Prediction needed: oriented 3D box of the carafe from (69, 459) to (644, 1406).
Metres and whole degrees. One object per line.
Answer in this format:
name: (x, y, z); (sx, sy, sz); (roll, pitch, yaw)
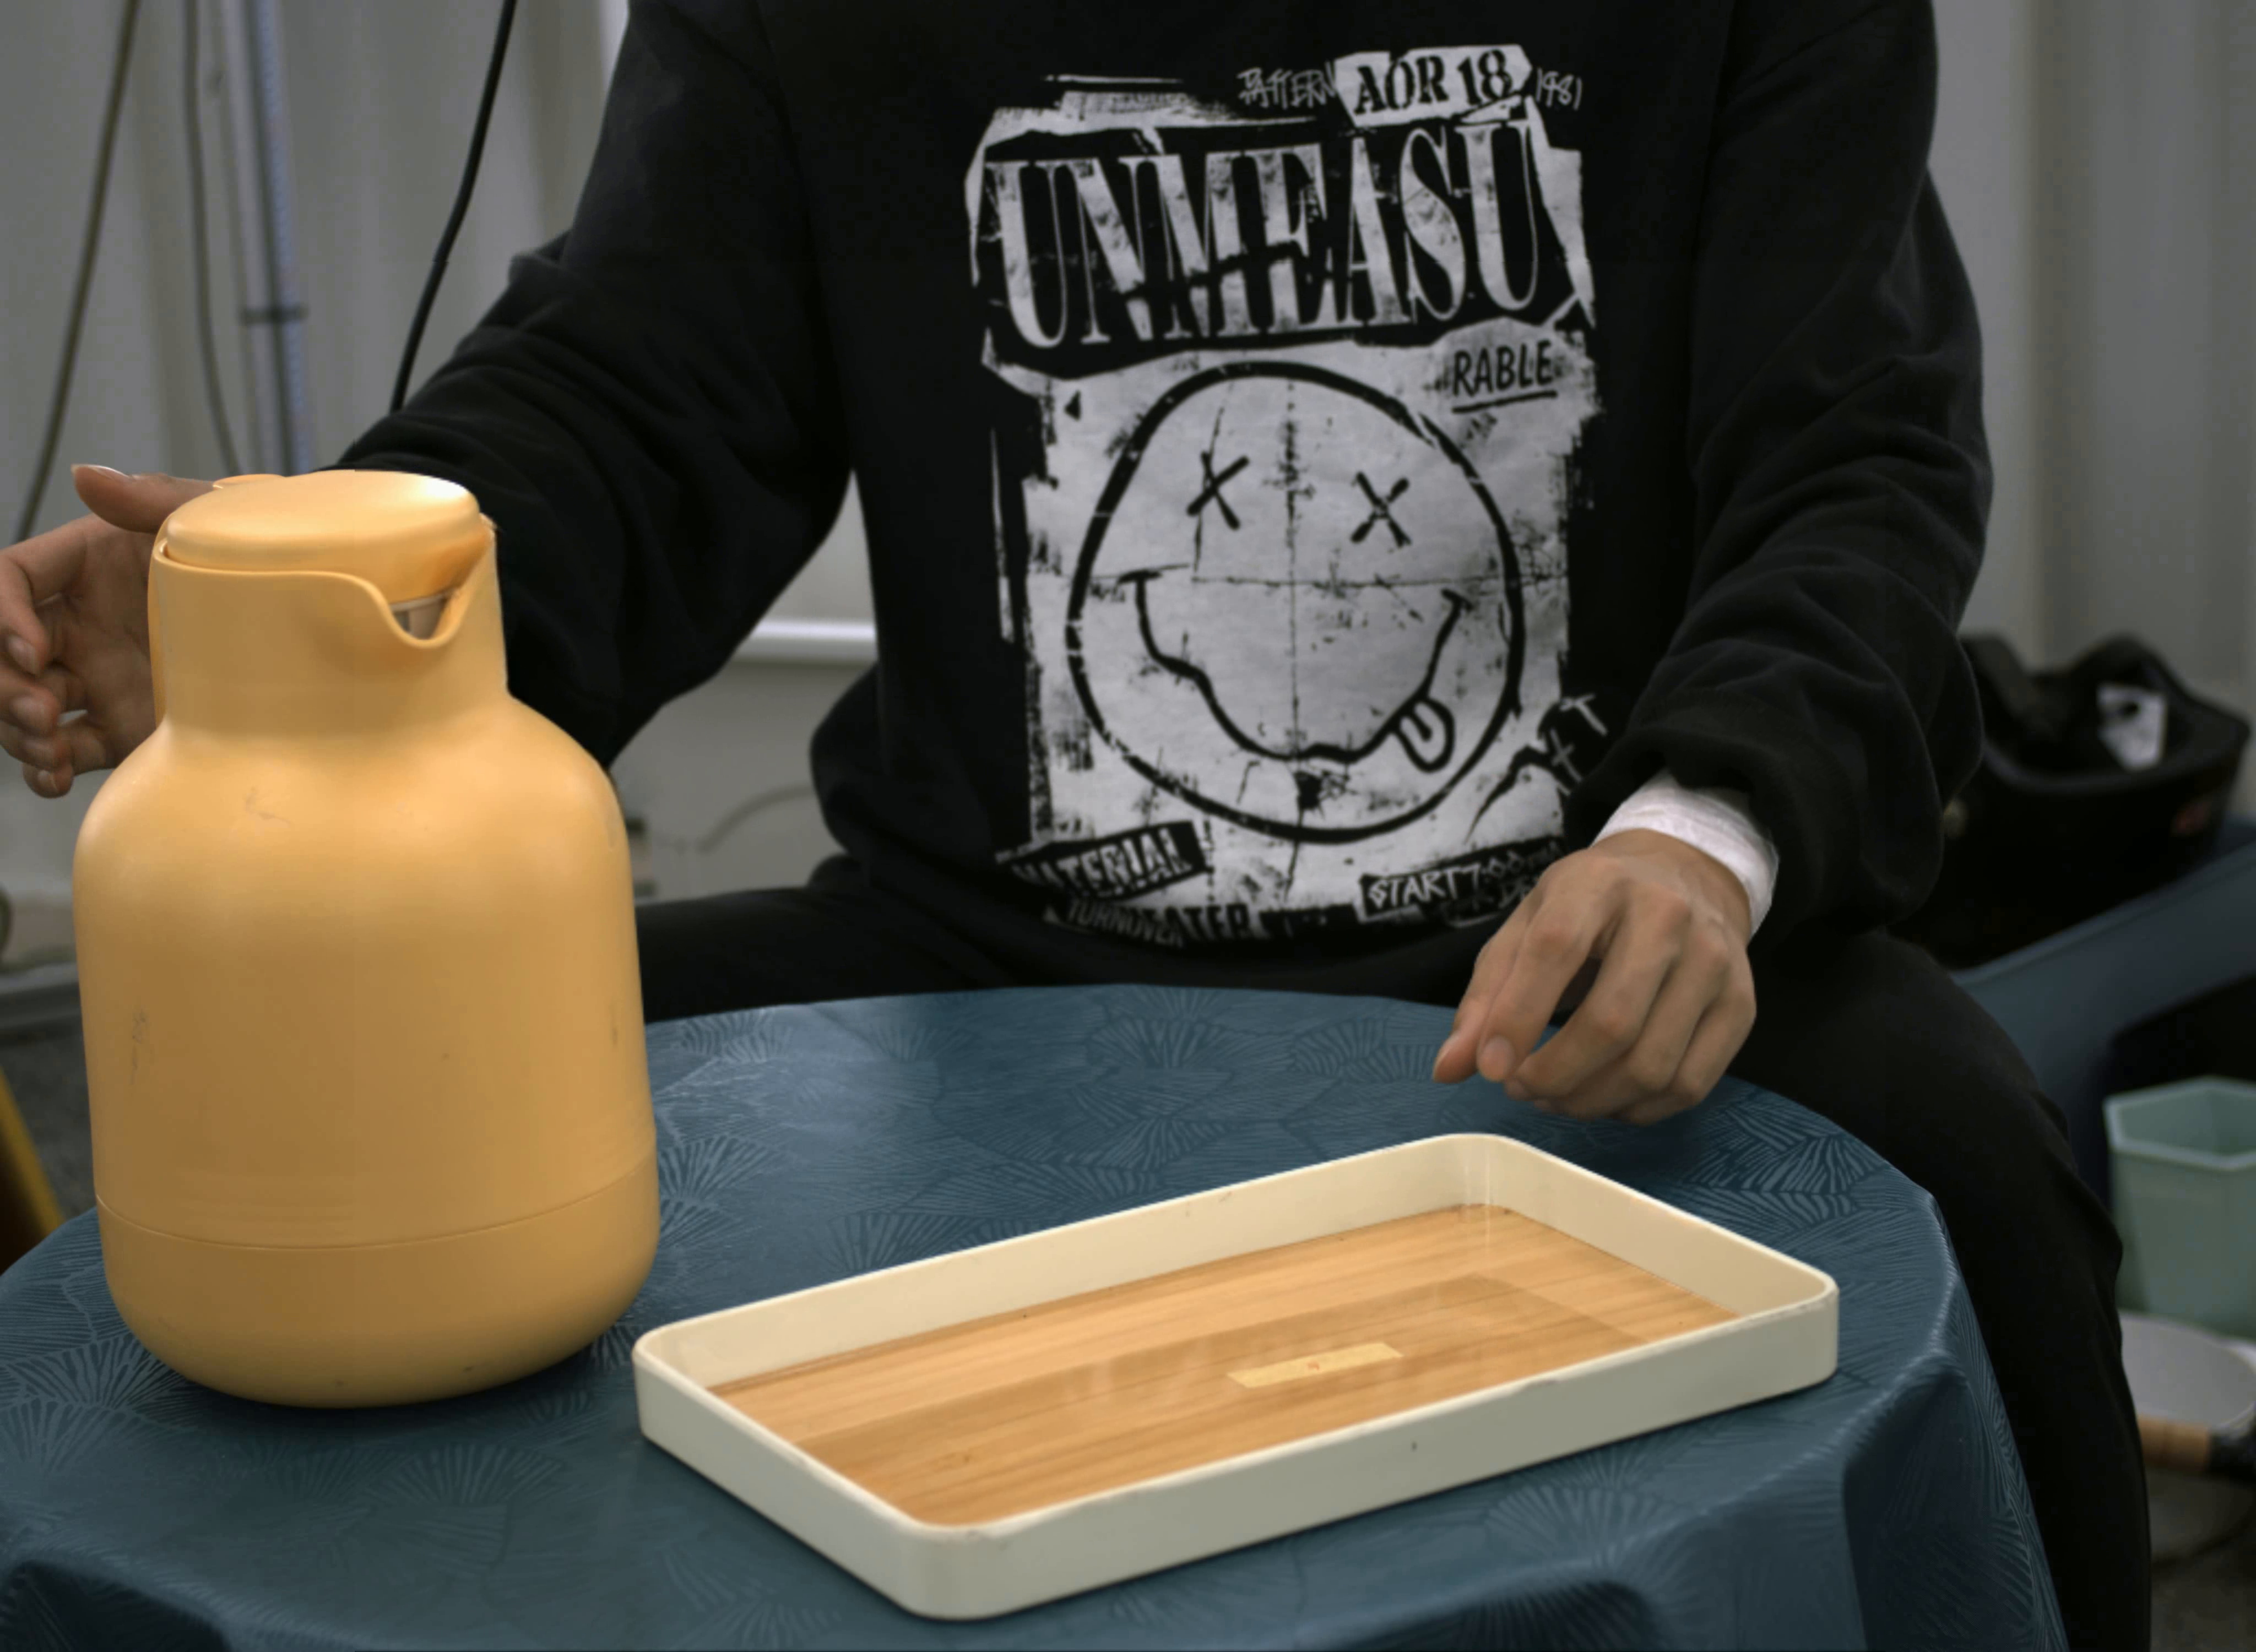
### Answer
carafe: (-0.232, 0.022, 1.600); (0.162, 0.259, 0.204); (-7, 16, -27)

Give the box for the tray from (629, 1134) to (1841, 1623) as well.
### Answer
tray: (0.030, 0.149, 1.528); (0.299, 0.027, 0.193); (-11, 17, -29)
